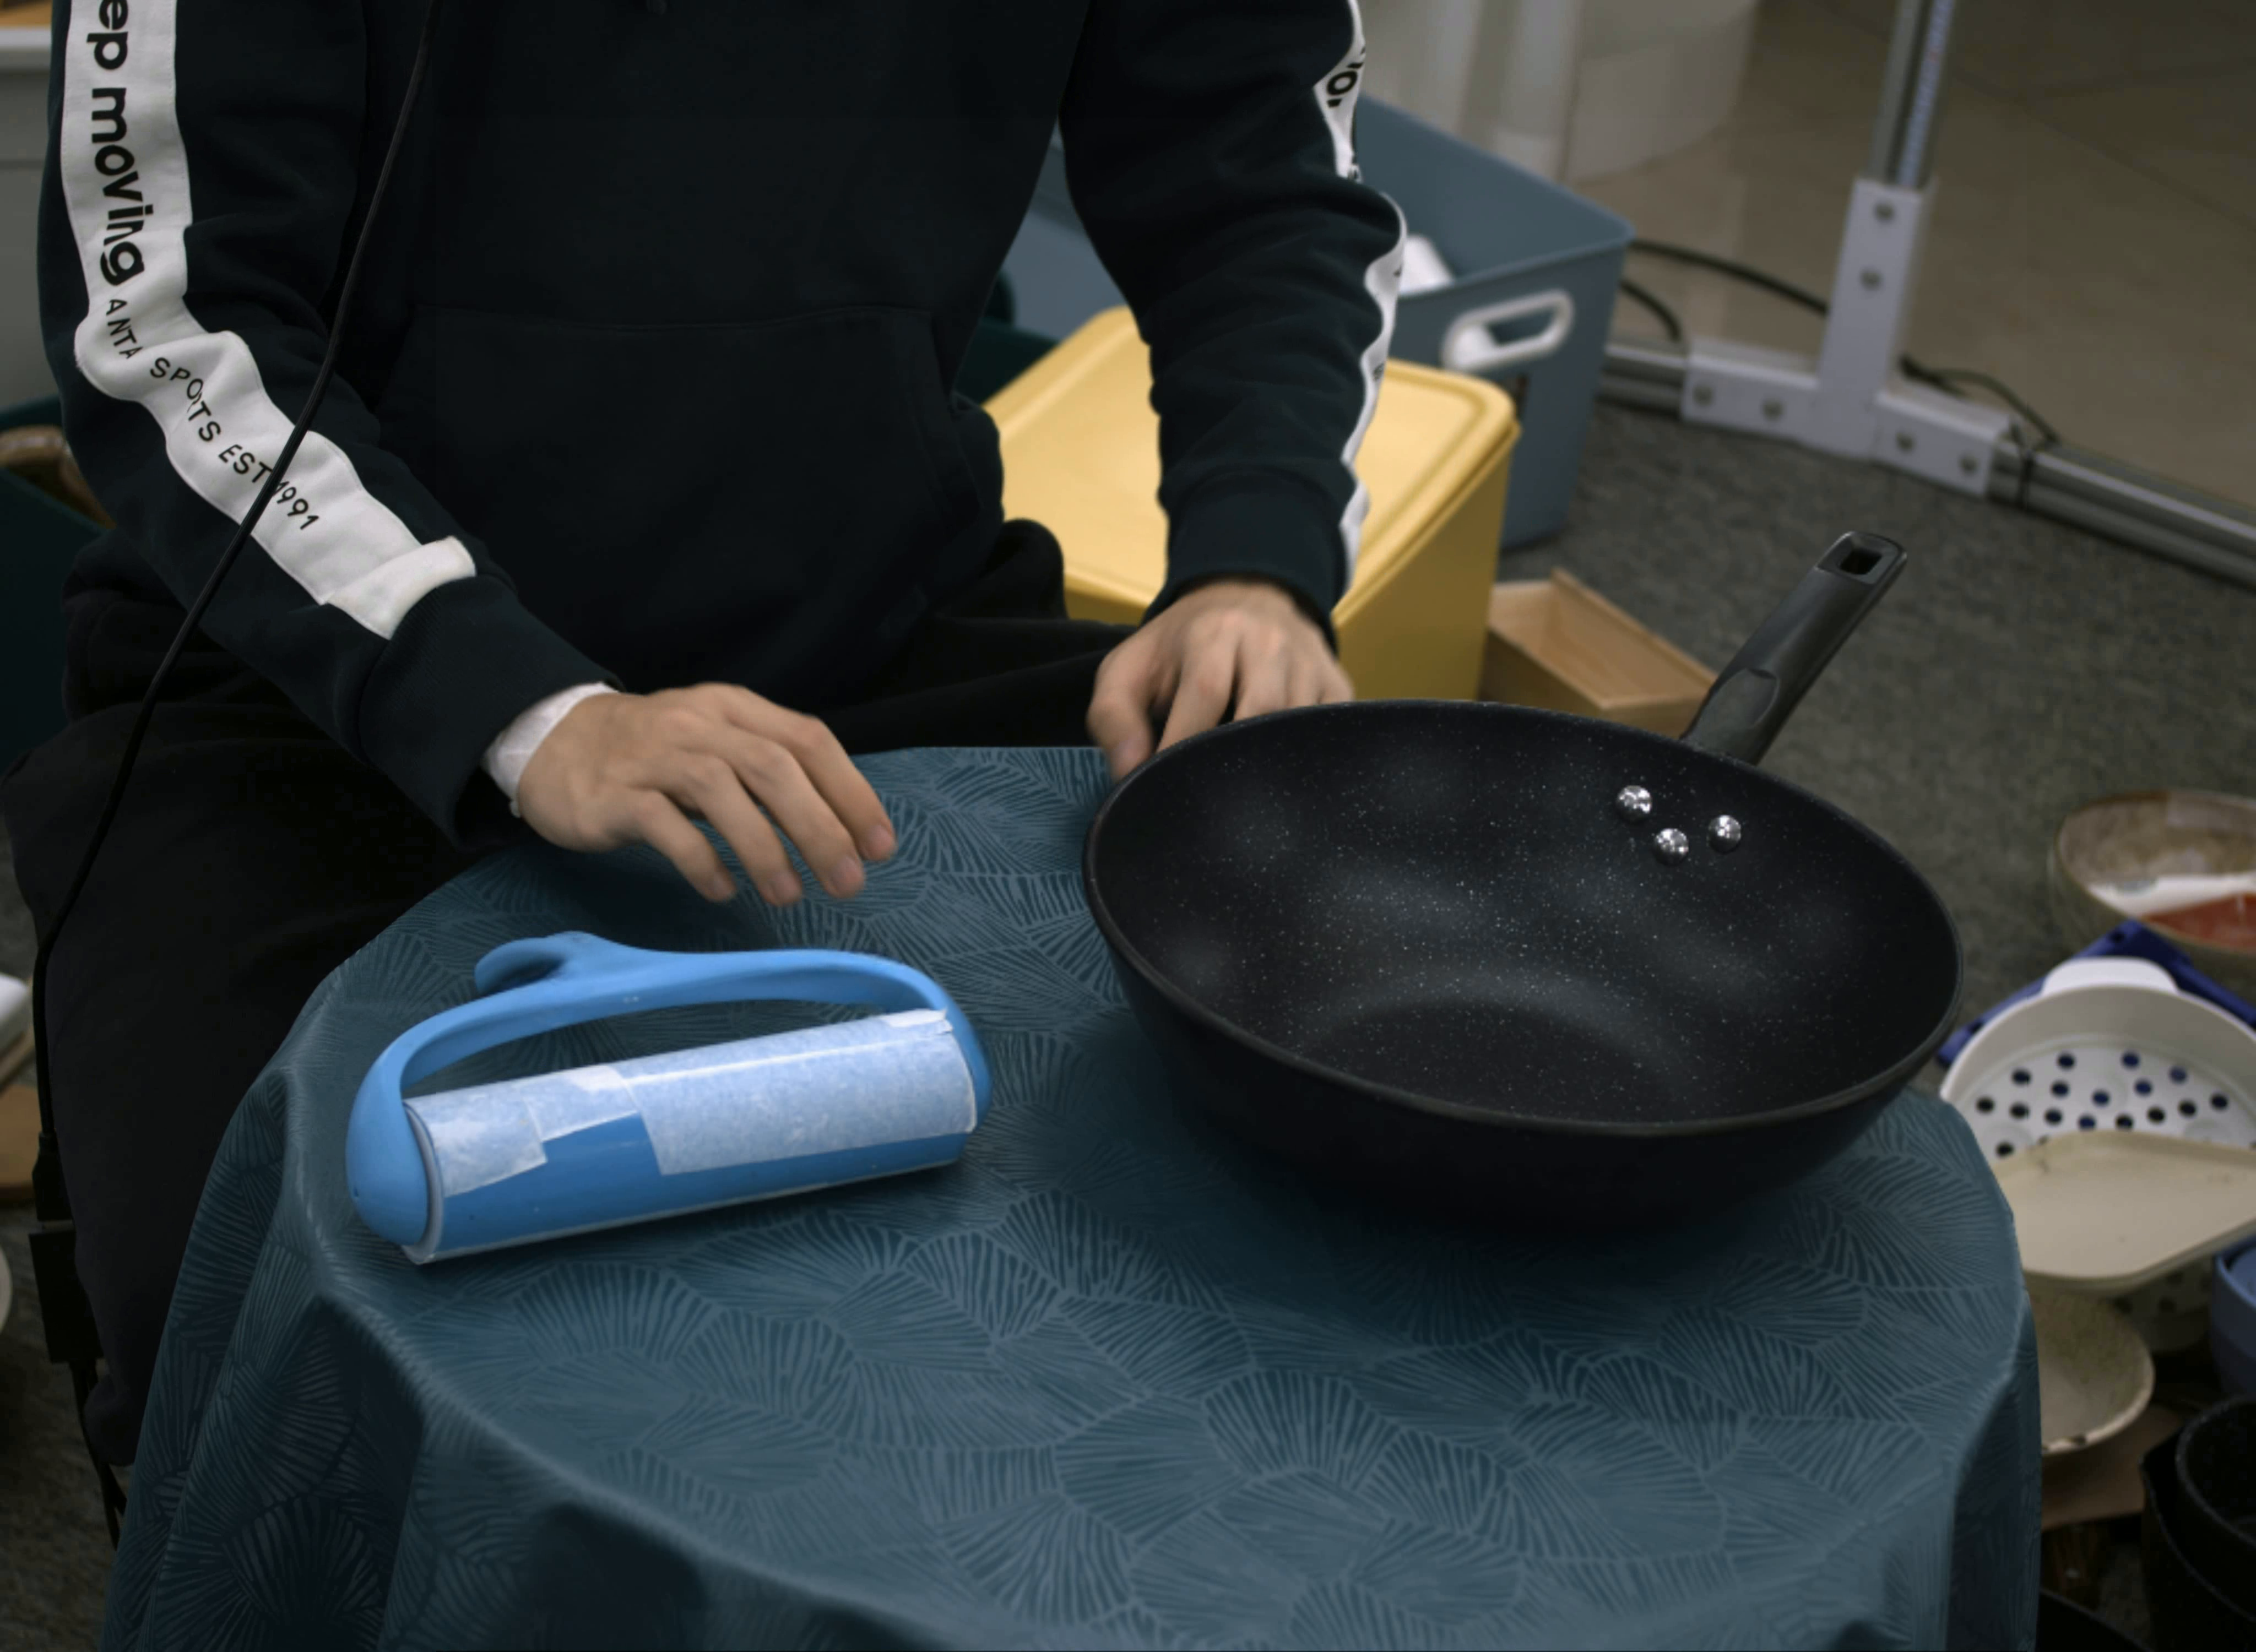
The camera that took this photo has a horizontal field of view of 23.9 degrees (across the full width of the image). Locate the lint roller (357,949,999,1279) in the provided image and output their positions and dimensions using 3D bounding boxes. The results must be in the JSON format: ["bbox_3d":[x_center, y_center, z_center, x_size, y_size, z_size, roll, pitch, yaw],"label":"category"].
[{"bbox_3d":[-0.176,0.076,1.792,0.227,0.067,0.182,-13,33,-30],"label":"lint roller"}]

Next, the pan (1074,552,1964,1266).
[{"bbox_3d":[0.171,0.027,1.910,0.311,0.111,0.476,20,30,22],"label":"pan"}]
